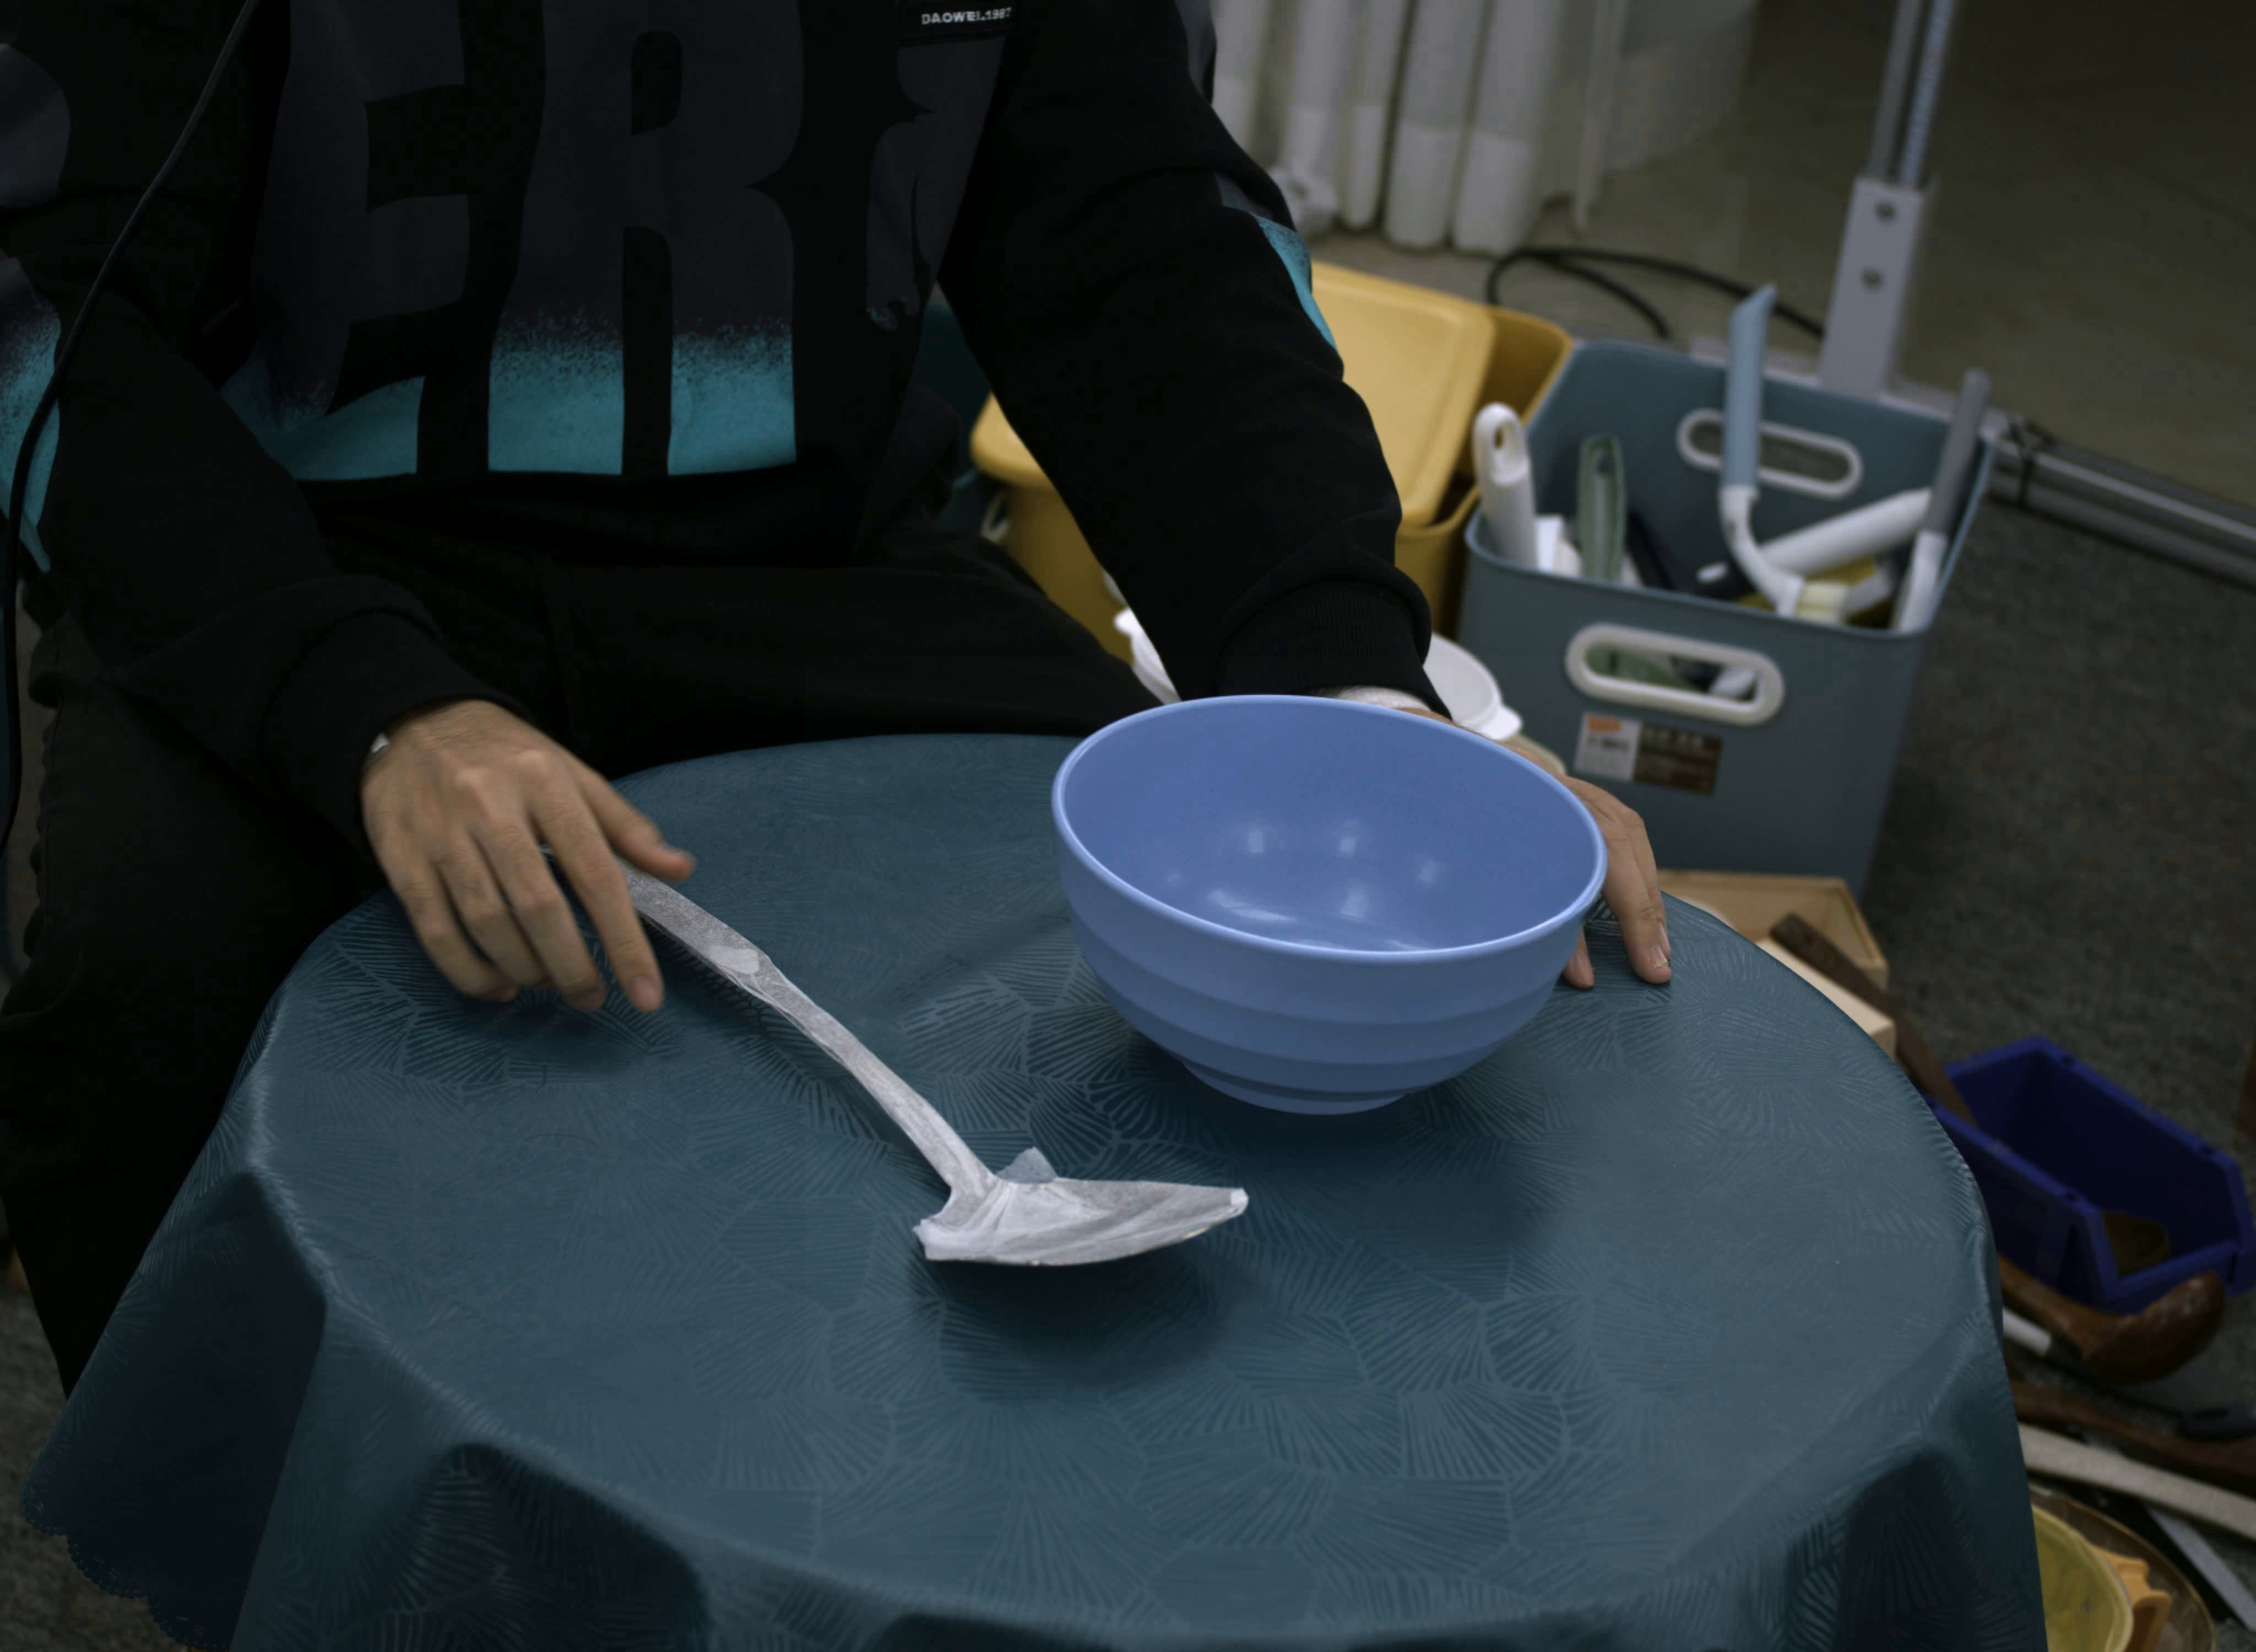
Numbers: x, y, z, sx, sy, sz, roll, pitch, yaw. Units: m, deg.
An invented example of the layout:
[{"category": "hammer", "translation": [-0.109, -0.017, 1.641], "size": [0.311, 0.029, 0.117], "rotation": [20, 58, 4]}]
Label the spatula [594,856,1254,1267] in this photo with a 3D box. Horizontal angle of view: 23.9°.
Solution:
[{"category": "spatula", "translation": [-0.094, 0.073, 1.836], "size": [0.098, 0.044, 0.368], "rotation": [-15, 34, -32]}]

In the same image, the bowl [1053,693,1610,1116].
[{"category": "bowl", "translation": [0.066, 0.039, 1.878], "size": [0.196, 0.095, 0.198], "rotation": [5, 28, -3]}]
